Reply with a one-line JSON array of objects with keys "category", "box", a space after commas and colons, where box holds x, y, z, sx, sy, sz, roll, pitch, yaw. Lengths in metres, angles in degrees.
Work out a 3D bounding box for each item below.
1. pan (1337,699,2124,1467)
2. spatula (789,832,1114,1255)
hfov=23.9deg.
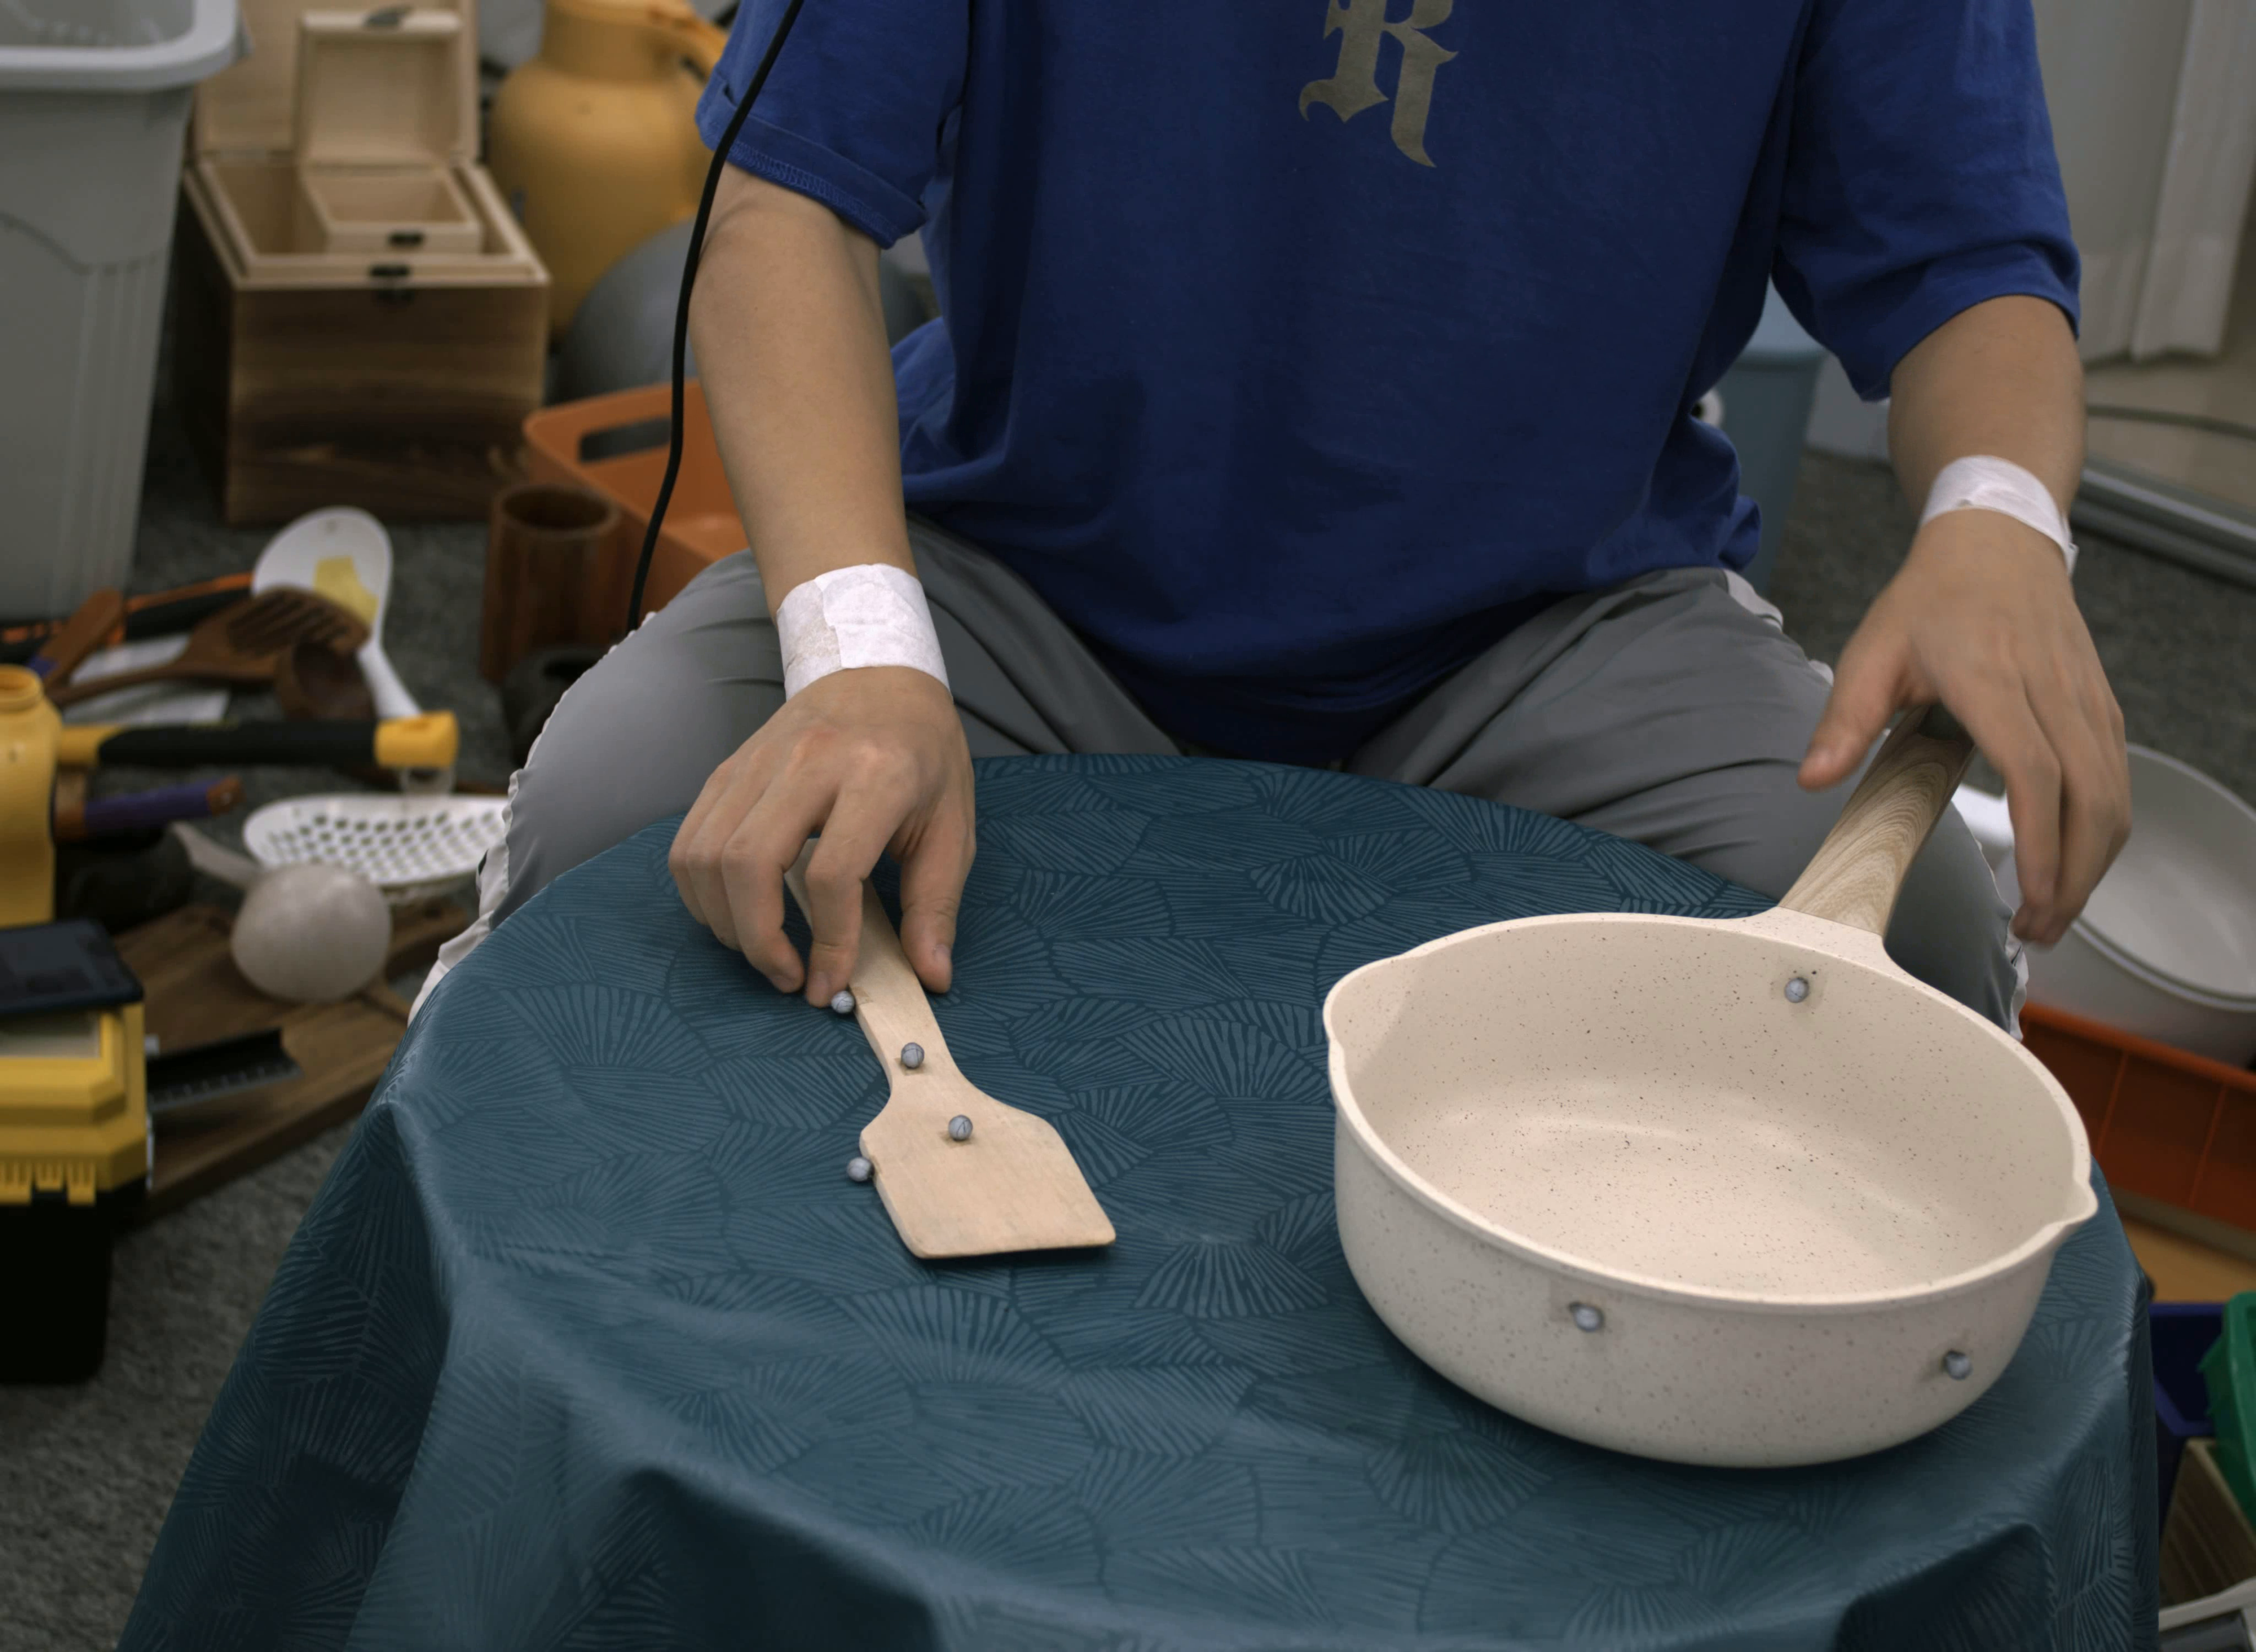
[{"category": "pan", "box": [0.225, 0.082, 1.828, 0.264, 0.101, 0.435, 13, 27, 17]}, {"category": "spatula", "box": [-0.077, 0.073, 1.876, 0.072, 0.010, 0.295, -3, 29, -16]}]
